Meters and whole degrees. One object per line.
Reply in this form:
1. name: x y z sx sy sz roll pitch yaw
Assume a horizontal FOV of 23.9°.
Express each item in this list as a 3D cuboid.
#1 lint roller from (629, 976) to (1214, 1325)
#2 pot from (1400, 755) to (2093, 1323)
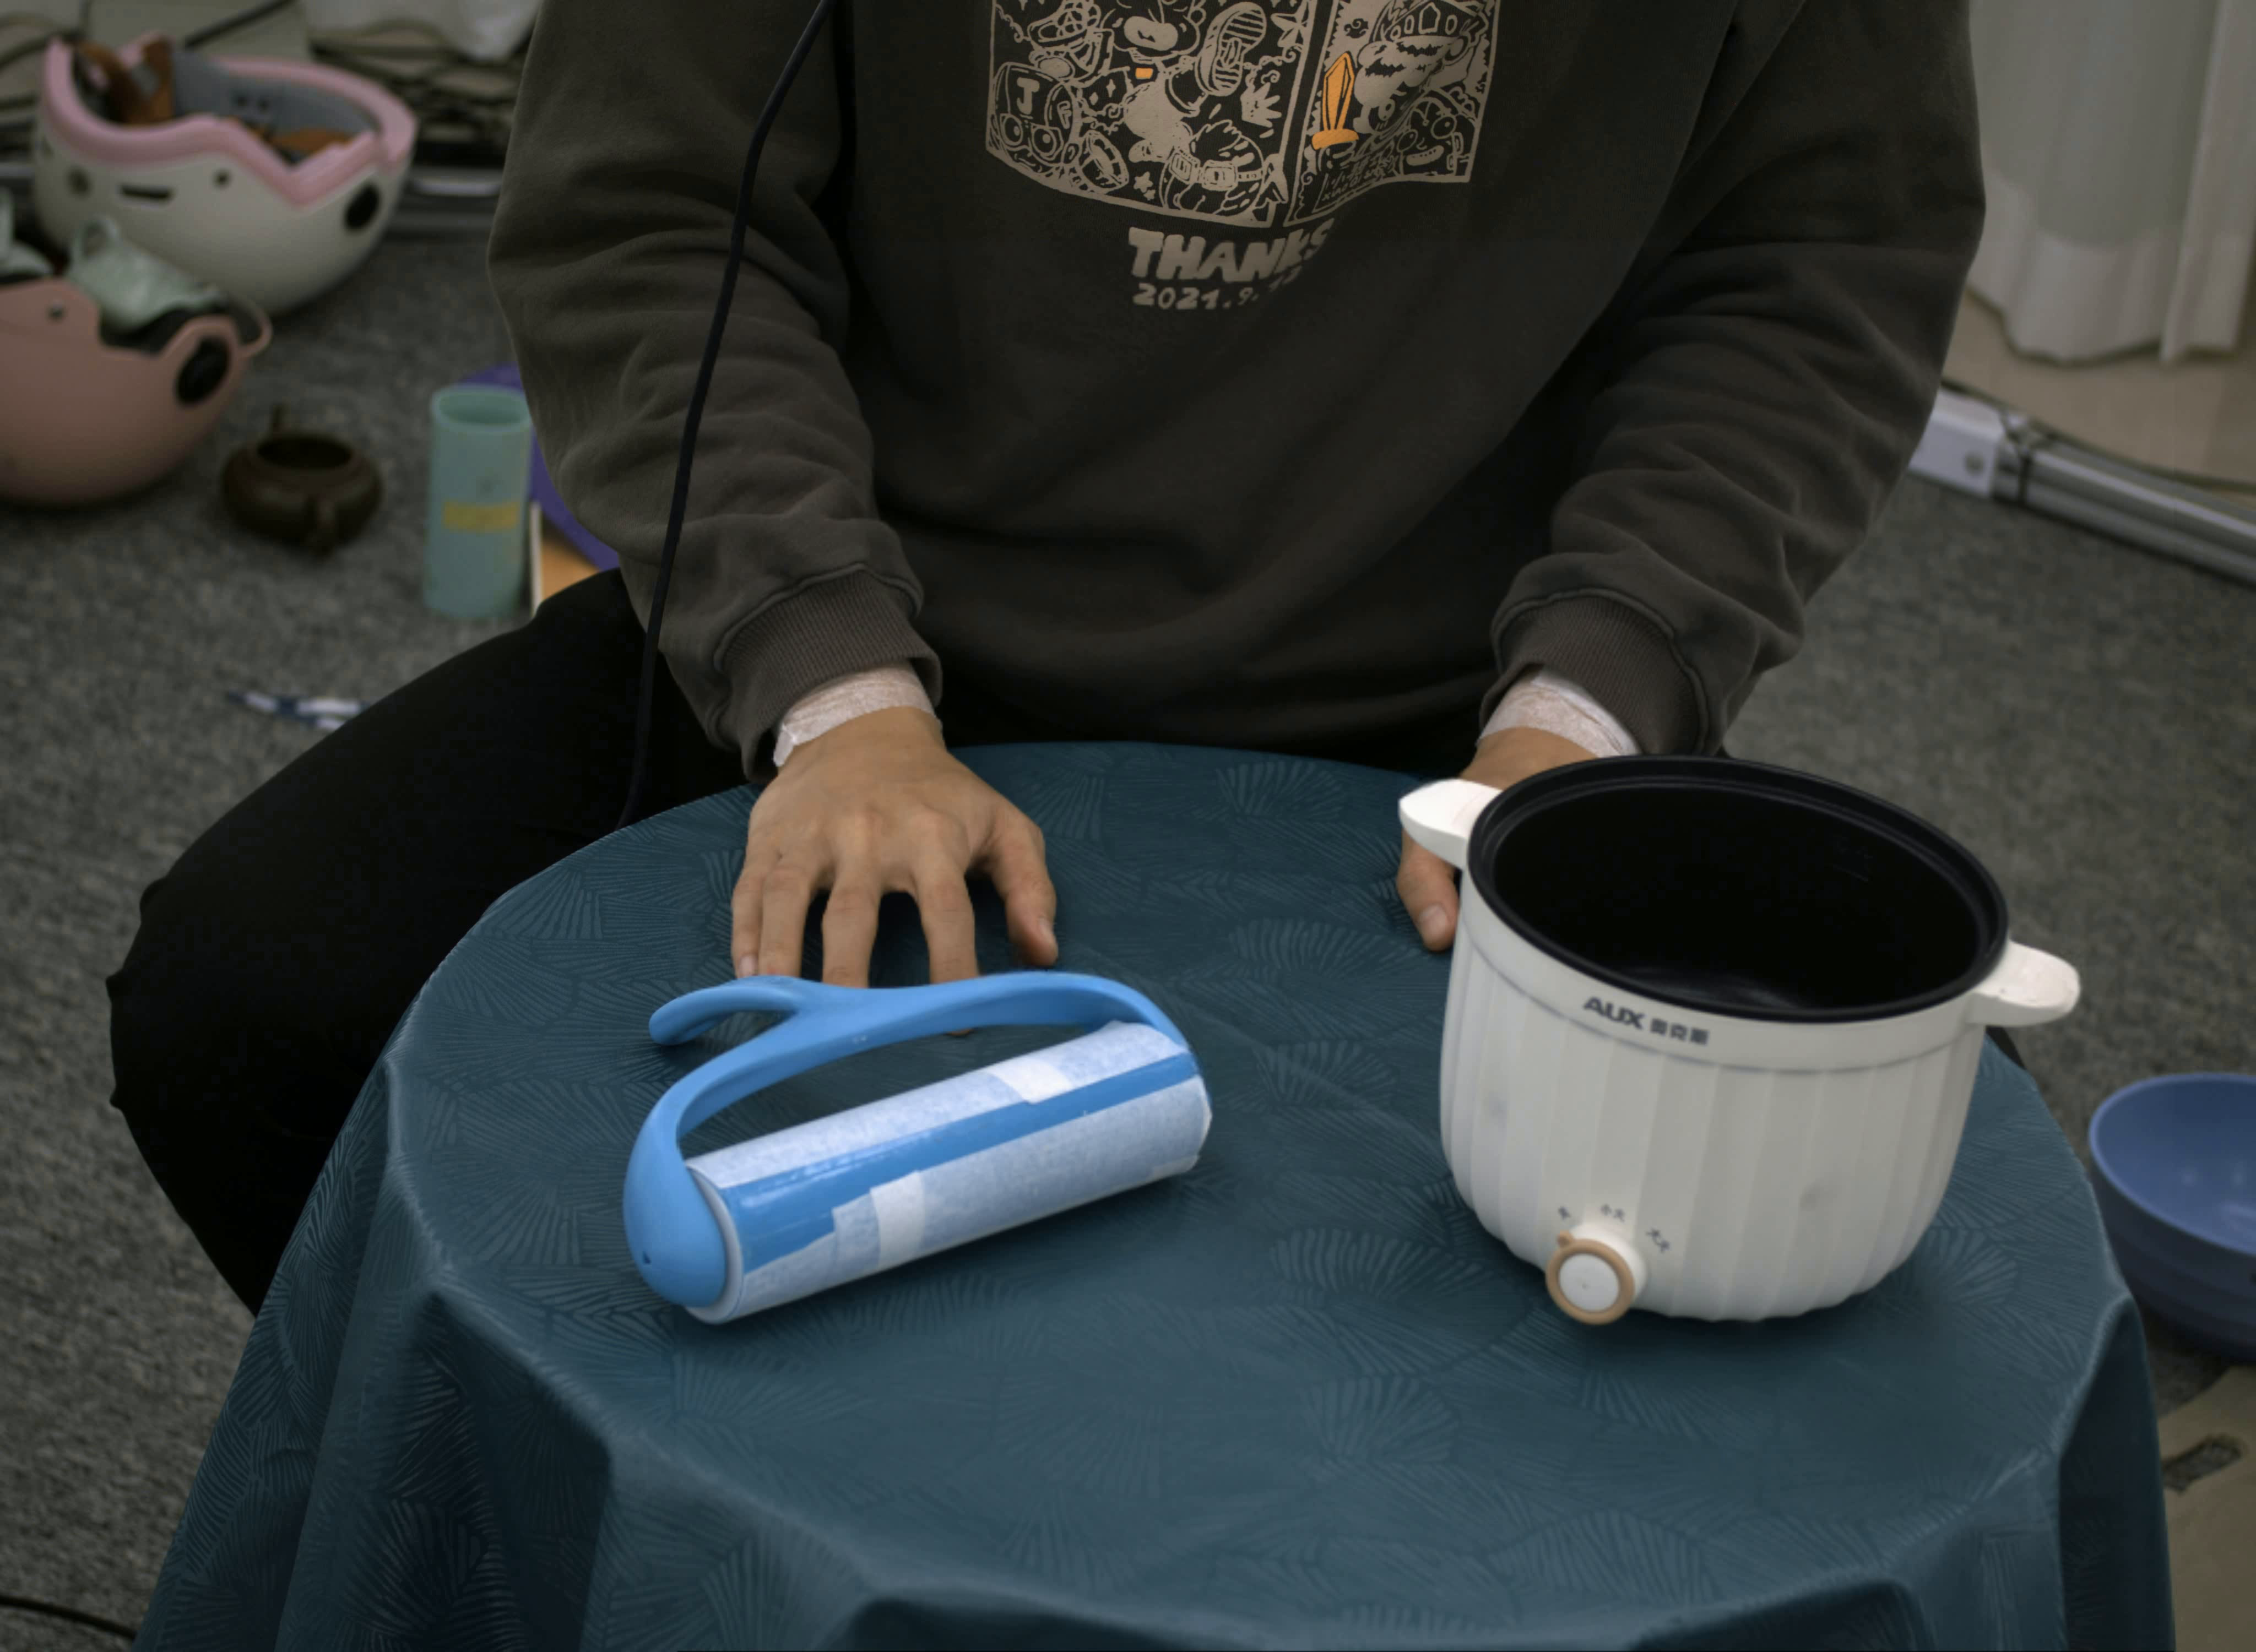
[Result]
1. lint roller: -0.102 0.087 1.789 0.228 0.068 0.182 -18 36 -38
2. pot: 0.195 0.078 1.784 0.241 0.142 0.190 15 24 20
